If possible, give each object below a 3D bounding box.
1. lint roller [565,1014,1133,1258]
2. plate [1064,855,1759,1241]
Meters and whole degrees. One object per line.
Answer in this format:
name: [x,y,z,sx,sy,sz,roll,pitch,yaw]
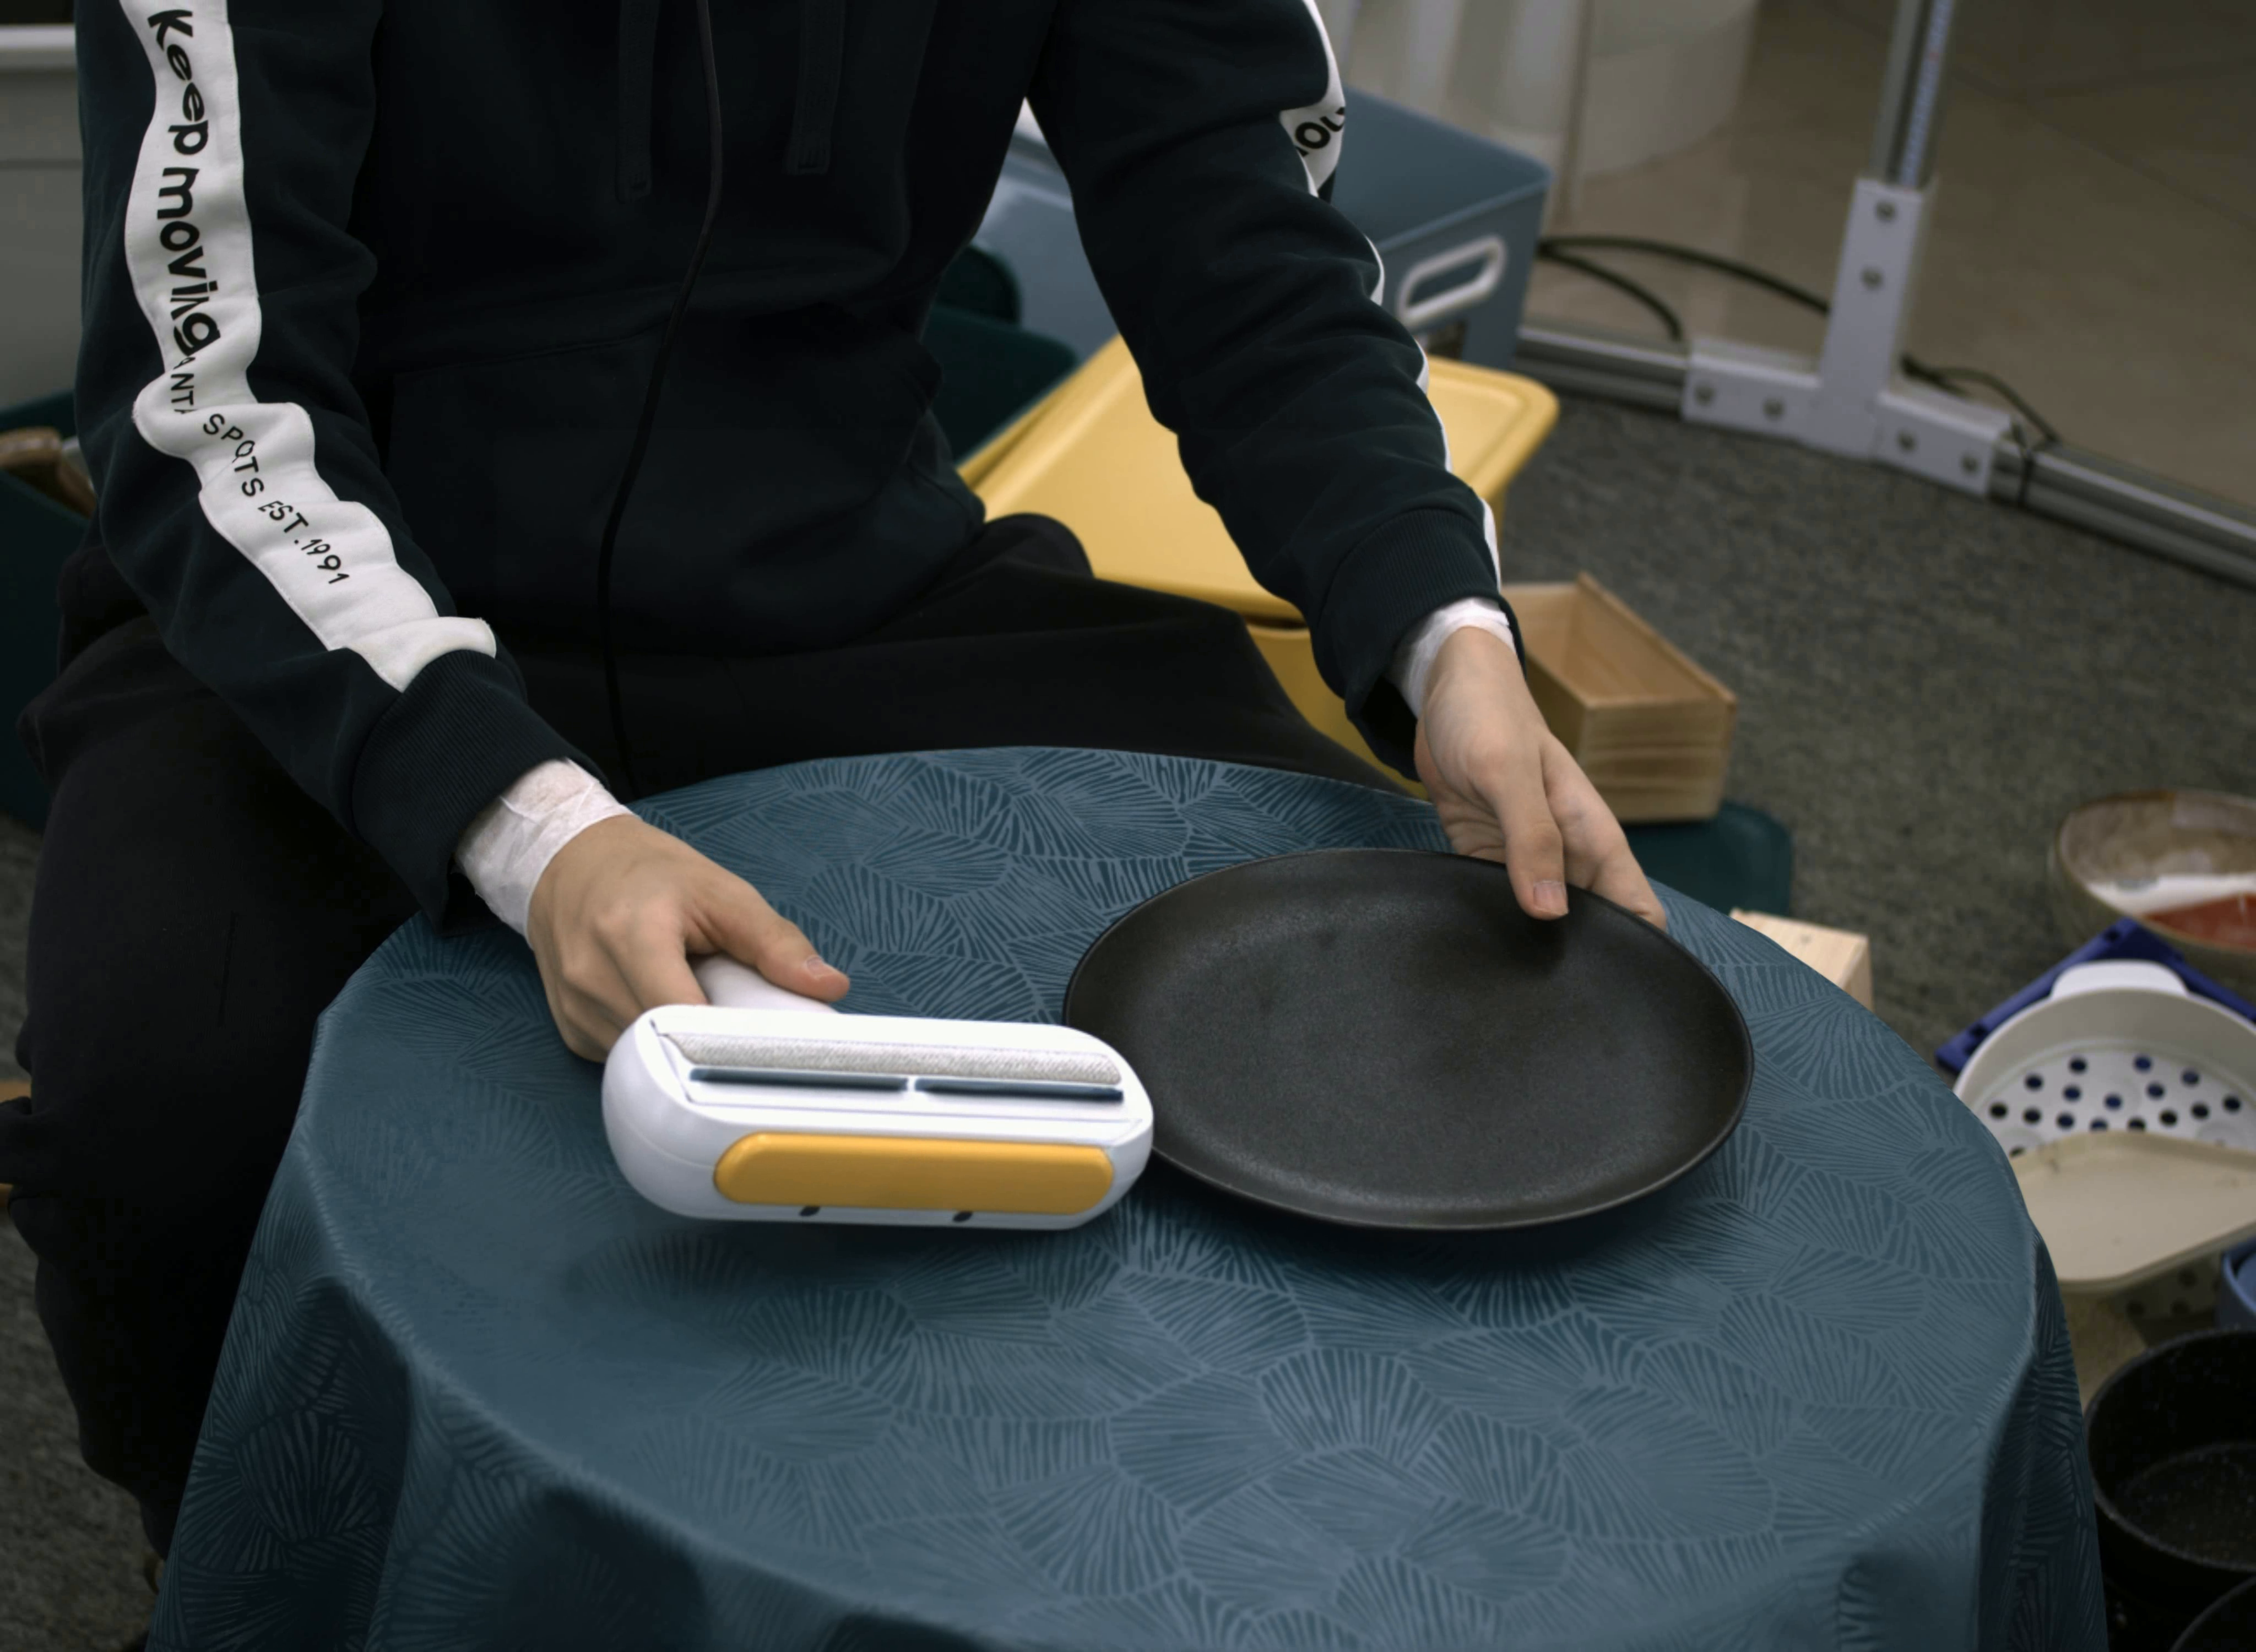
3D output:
lint roller: [-0.113,0.093,1.795,0.191,0.074,0.194,4,13,-24]
plate: [0.098,0.081,1.863,0.243,0.023,0.246,2,30,-2]
